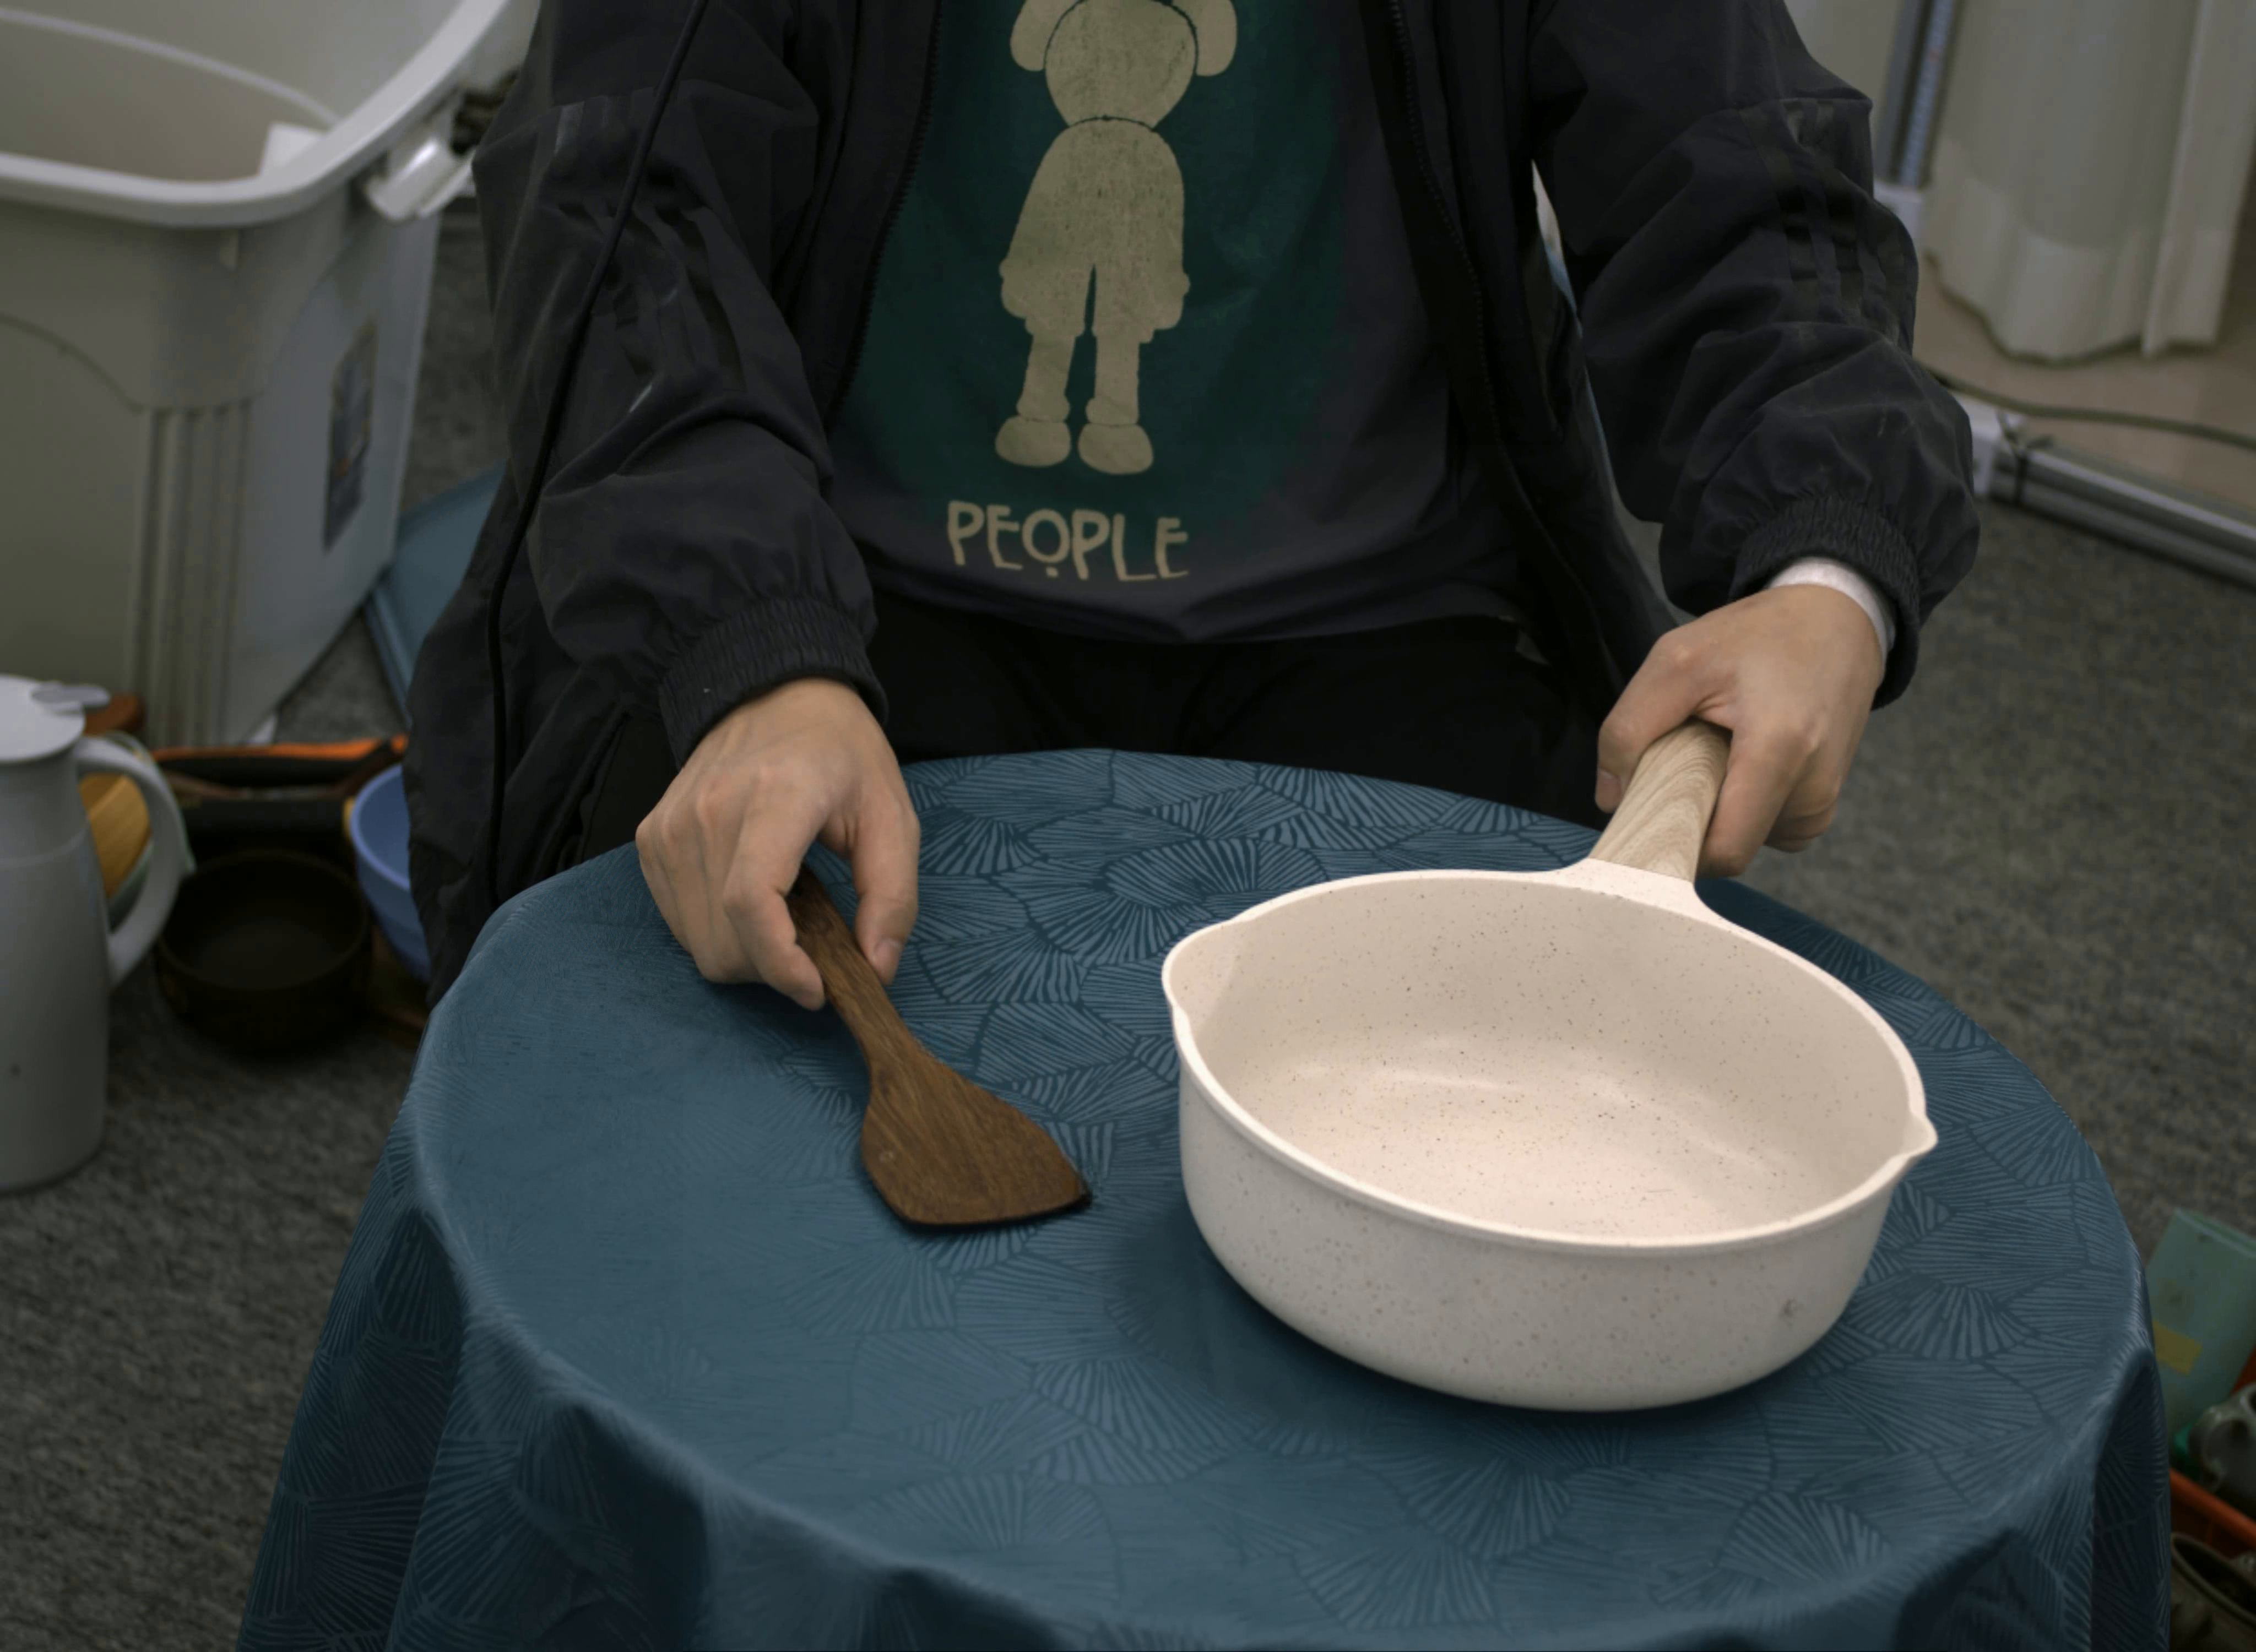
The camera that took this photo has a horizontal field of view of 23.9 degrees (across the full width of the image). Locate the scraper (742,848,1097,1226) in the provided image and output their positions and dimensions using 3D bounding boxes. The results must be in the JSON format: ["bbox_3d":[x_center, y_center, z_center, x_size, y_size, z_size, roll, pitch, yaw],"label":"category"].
[{"bbox_3d":[-0.084,0.072,1.850,0.075,0.011,0.213,-5,38,-28],"label":"scraper"}]

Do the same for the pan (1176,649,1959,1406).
[{"bbox_3d":[0.167,0.065,1.850,0.263,0.101,0.435,11,26,13],"label":"pan"}]
